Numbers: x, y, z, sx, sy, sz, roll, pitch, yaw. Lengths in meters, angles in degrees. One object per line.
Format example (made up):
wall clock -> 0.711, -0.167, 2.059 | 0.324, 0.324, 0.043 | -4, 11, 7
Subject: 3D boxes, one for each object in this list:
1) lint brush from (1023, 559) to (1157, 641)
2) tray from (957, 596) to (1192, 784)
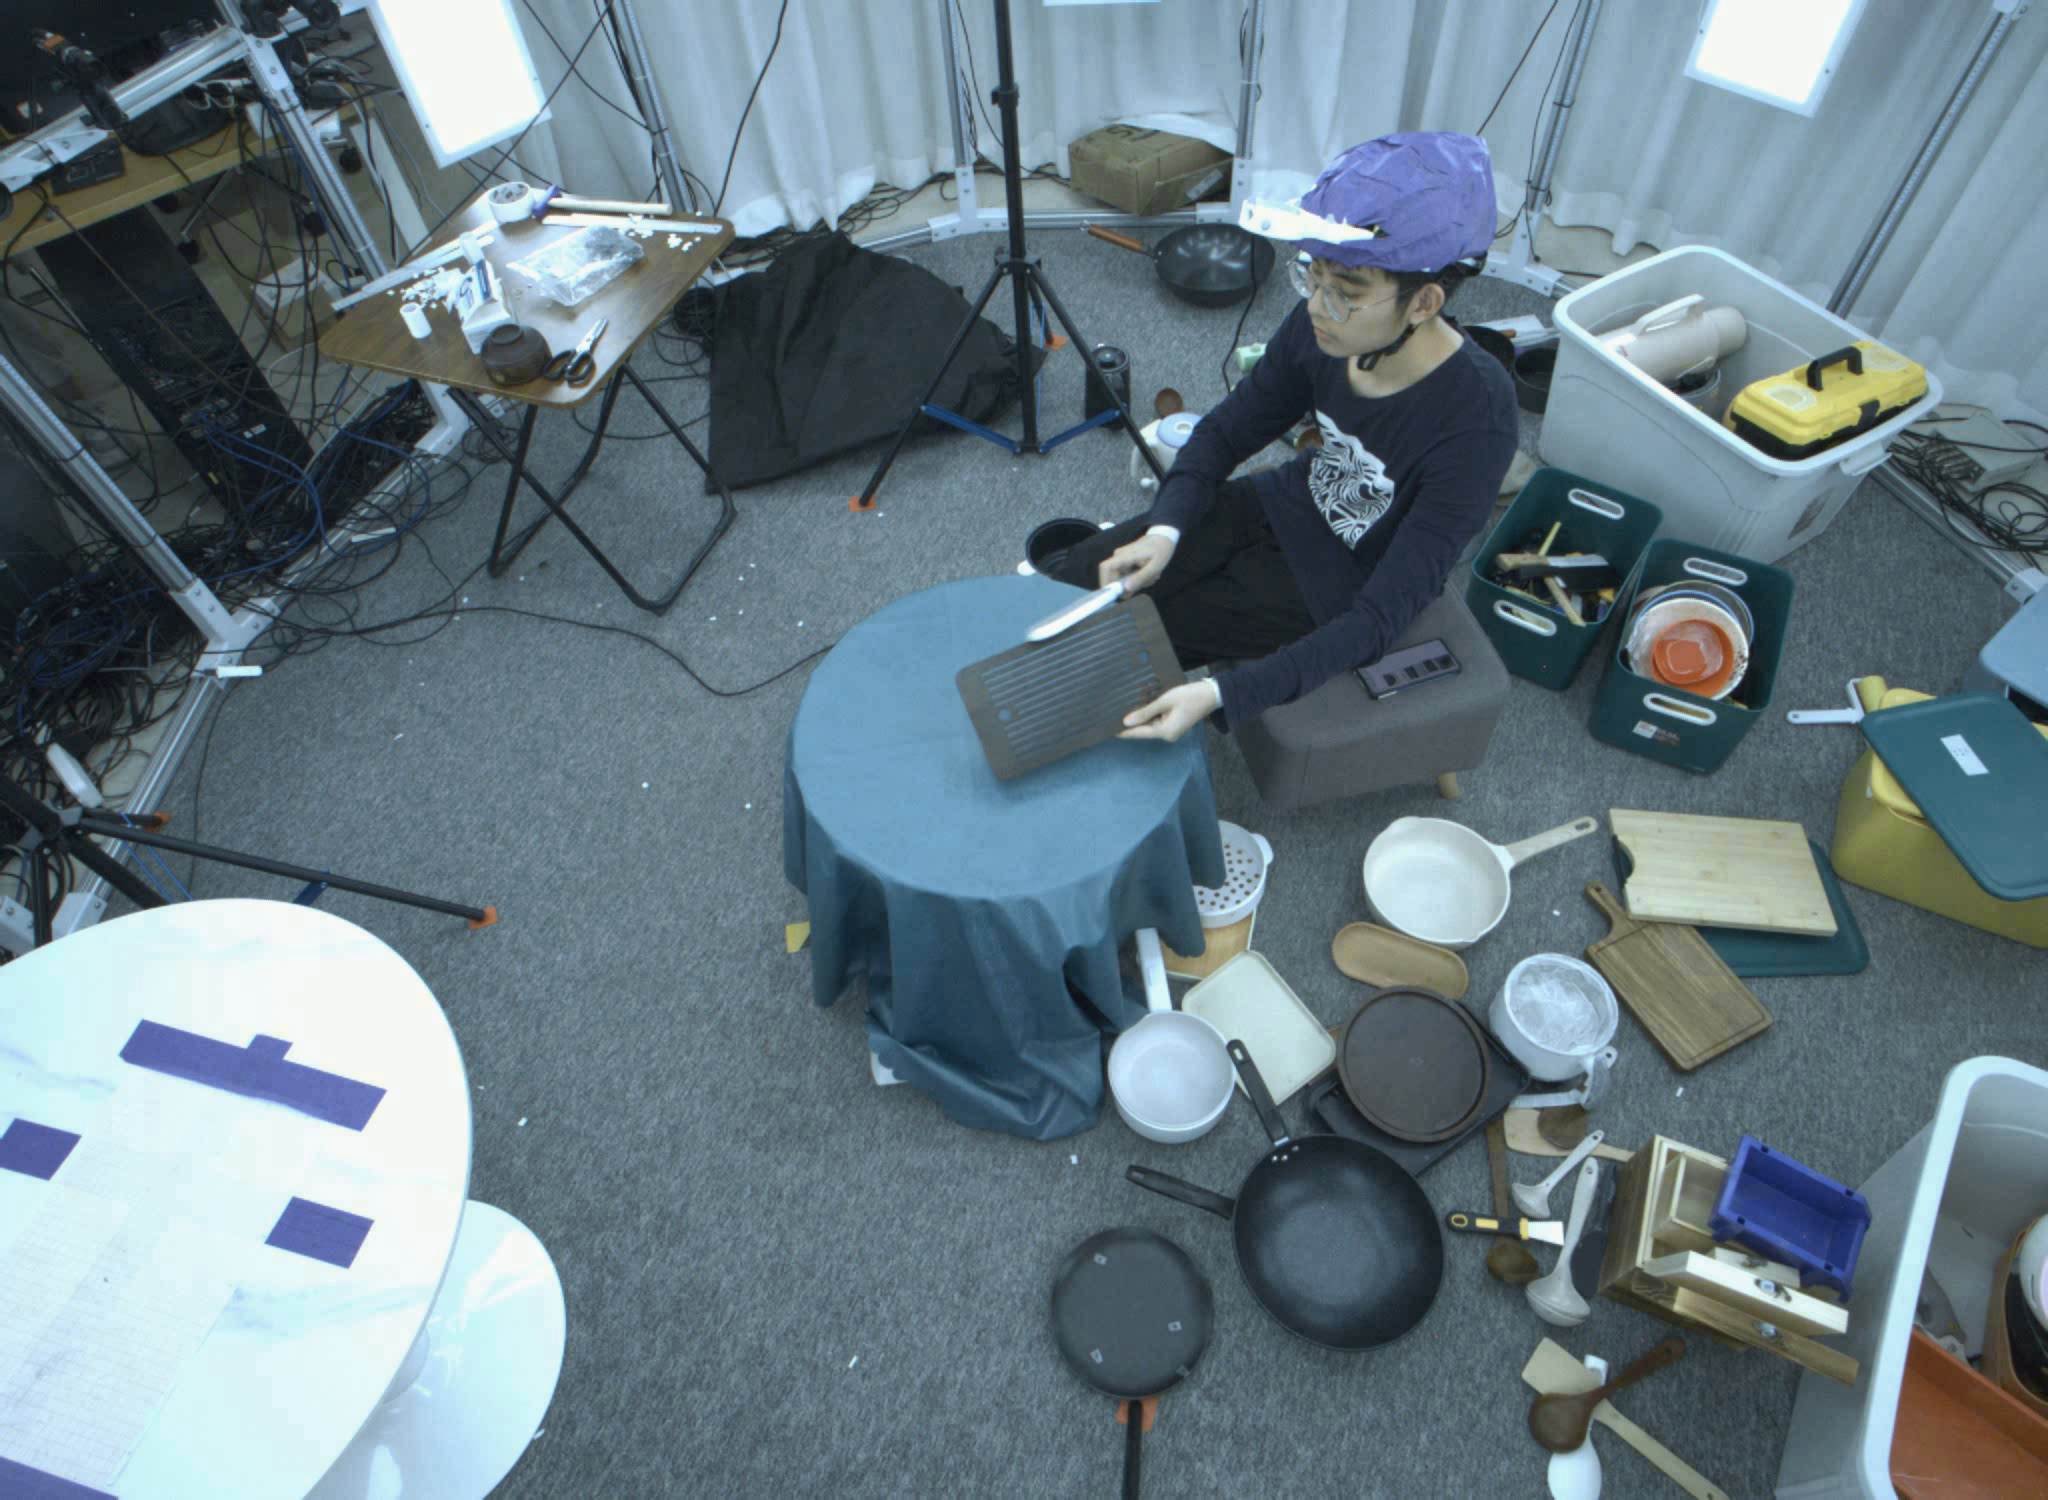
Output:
lint brush -> 0.104, -0.222, 1.796 | 0.059, 0.021, 0.312 | -13, 16, 46
tray -> 0.072, -0.086, 1.748 | 0.307, 0.018, 0.170 | -24, 93, -8
